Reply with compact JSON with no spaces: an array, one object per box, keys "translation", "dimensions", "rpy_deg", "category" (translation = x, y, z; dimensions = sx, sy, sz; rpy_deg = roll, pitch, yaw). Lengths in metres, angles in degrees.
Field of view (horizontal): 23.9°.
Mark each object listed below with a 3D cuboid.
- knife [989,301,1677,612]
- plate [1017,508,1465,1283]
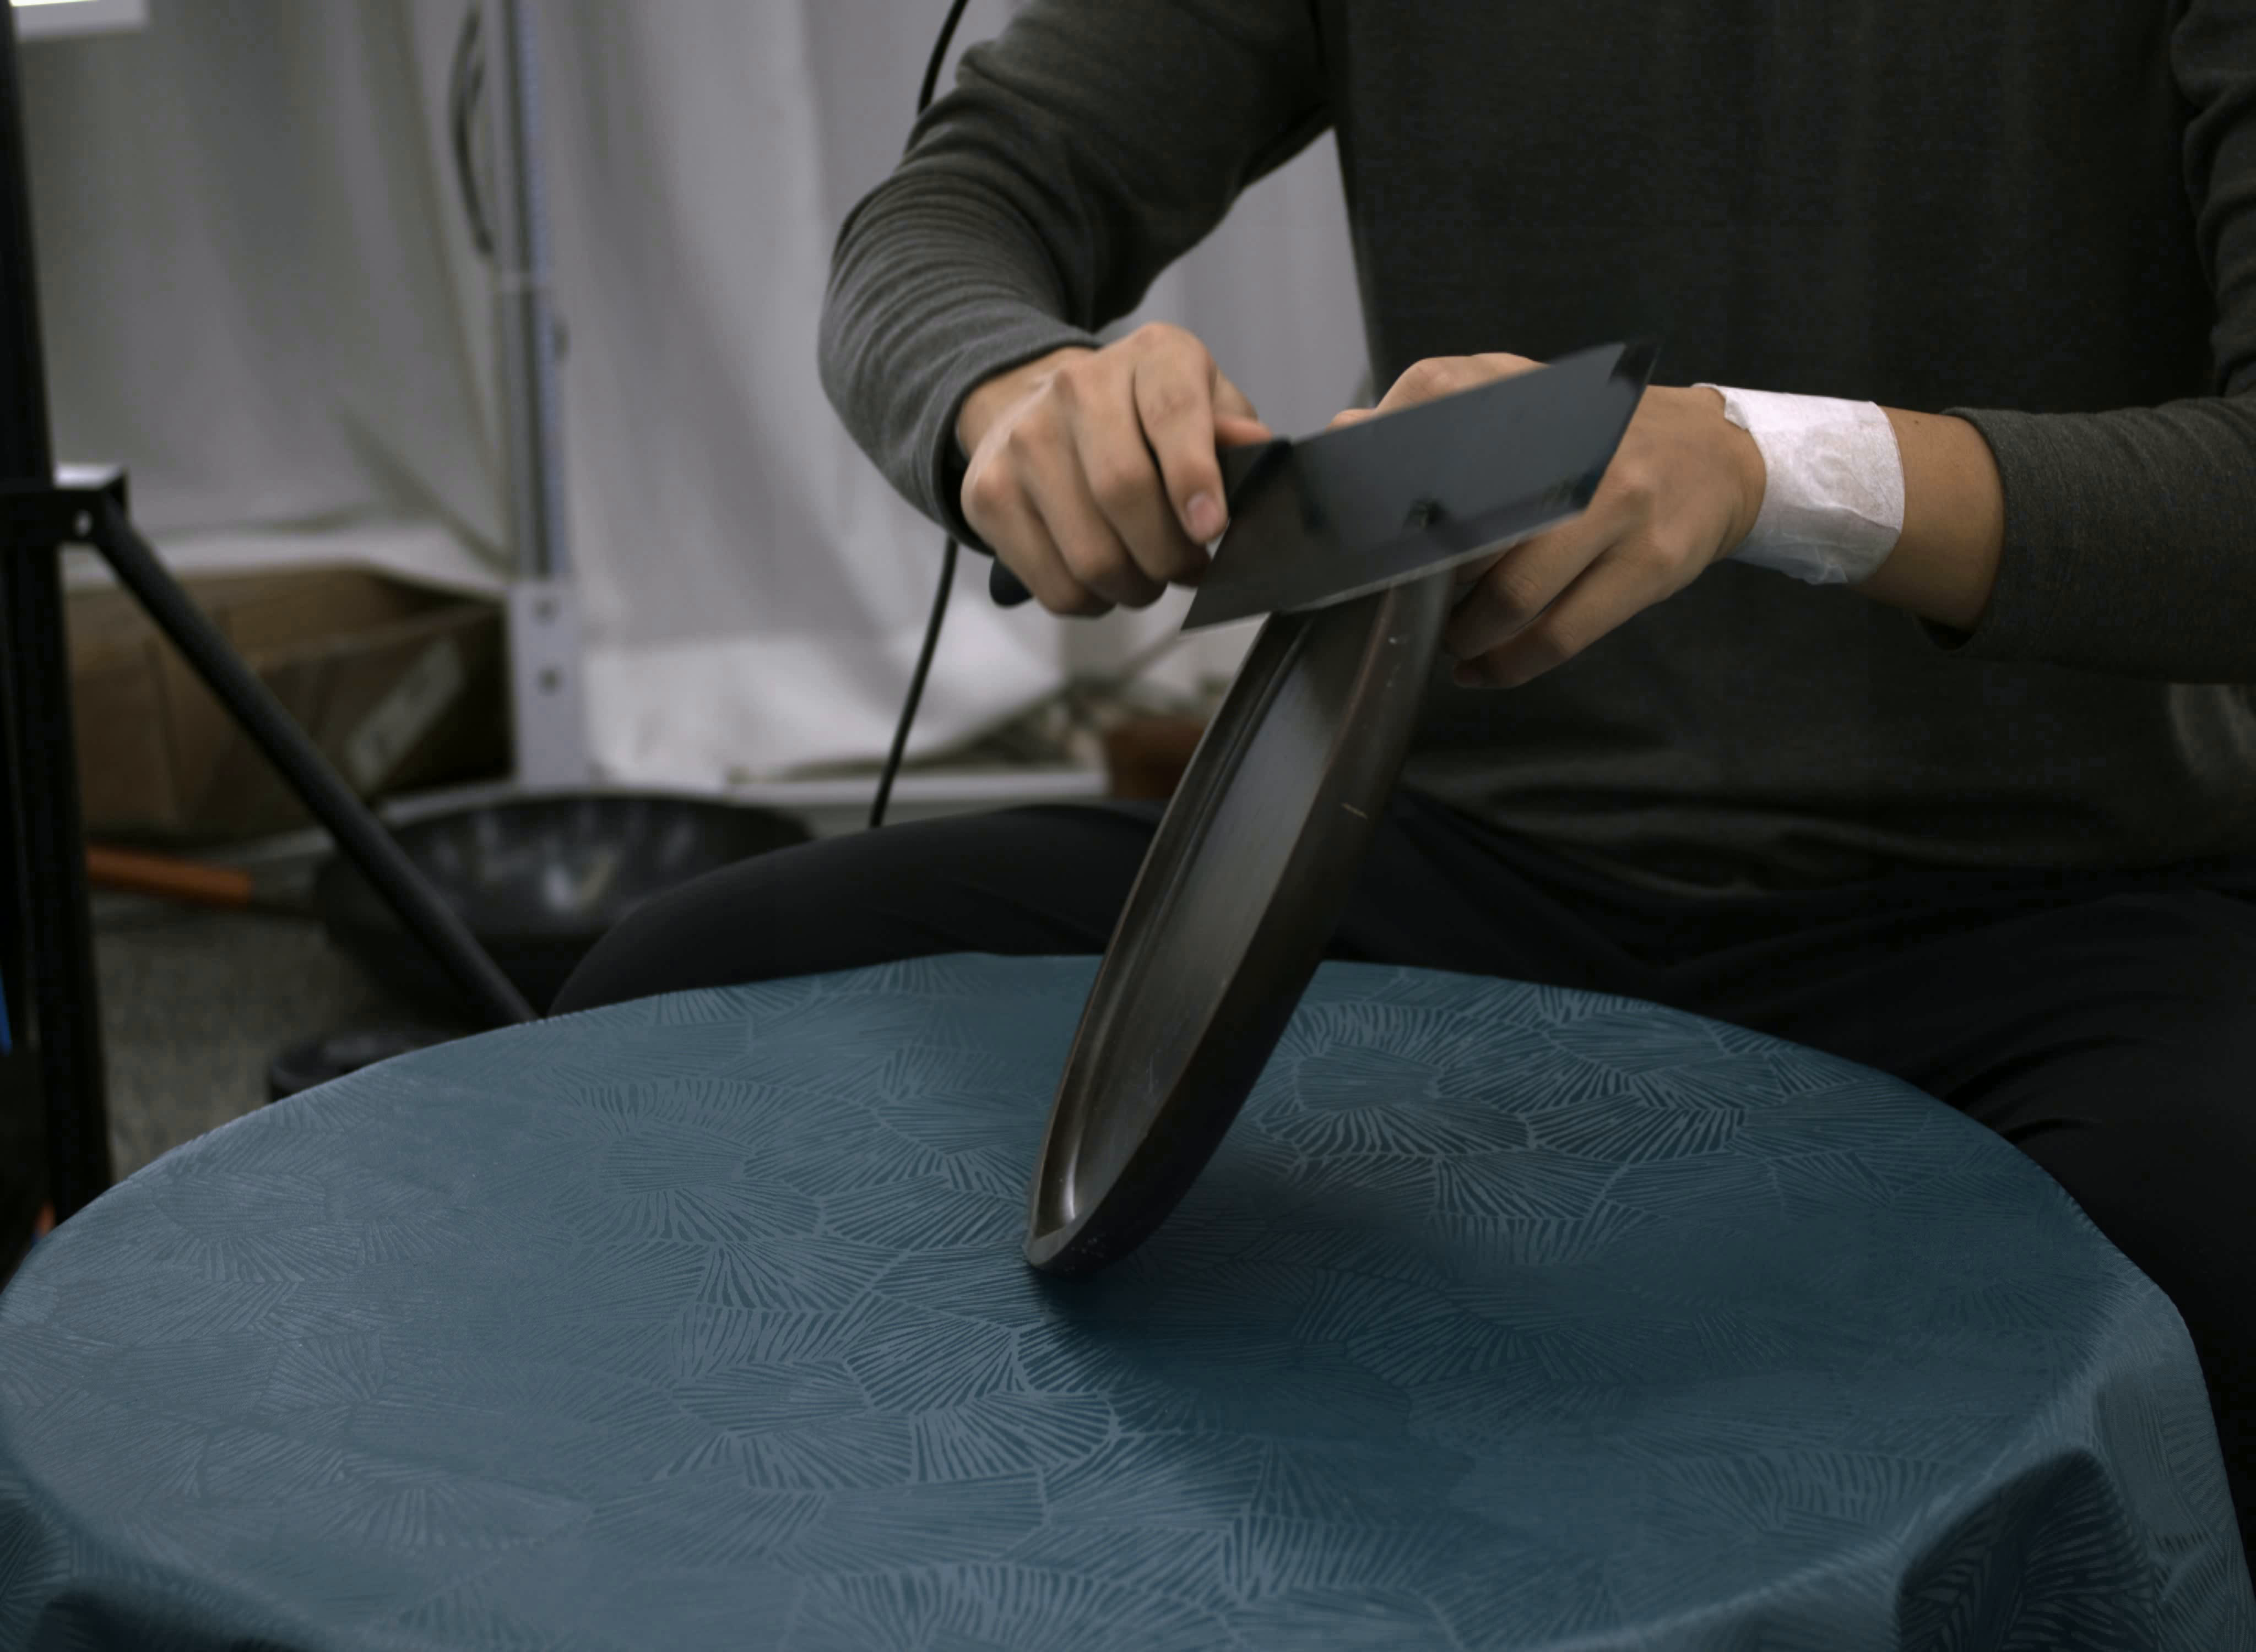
[{"translation":[0.047,-0.091,1.476],"dimensions":[0.020,0.081,0.308],"rpy_deg":[38,-22,-24],"category":"knife"},{"translation":[0.032,0.014,1.494],"dimensions":[0.029,0.256,0.256],"rpy_deg":[24,14,-8],"category":"plate"}]
